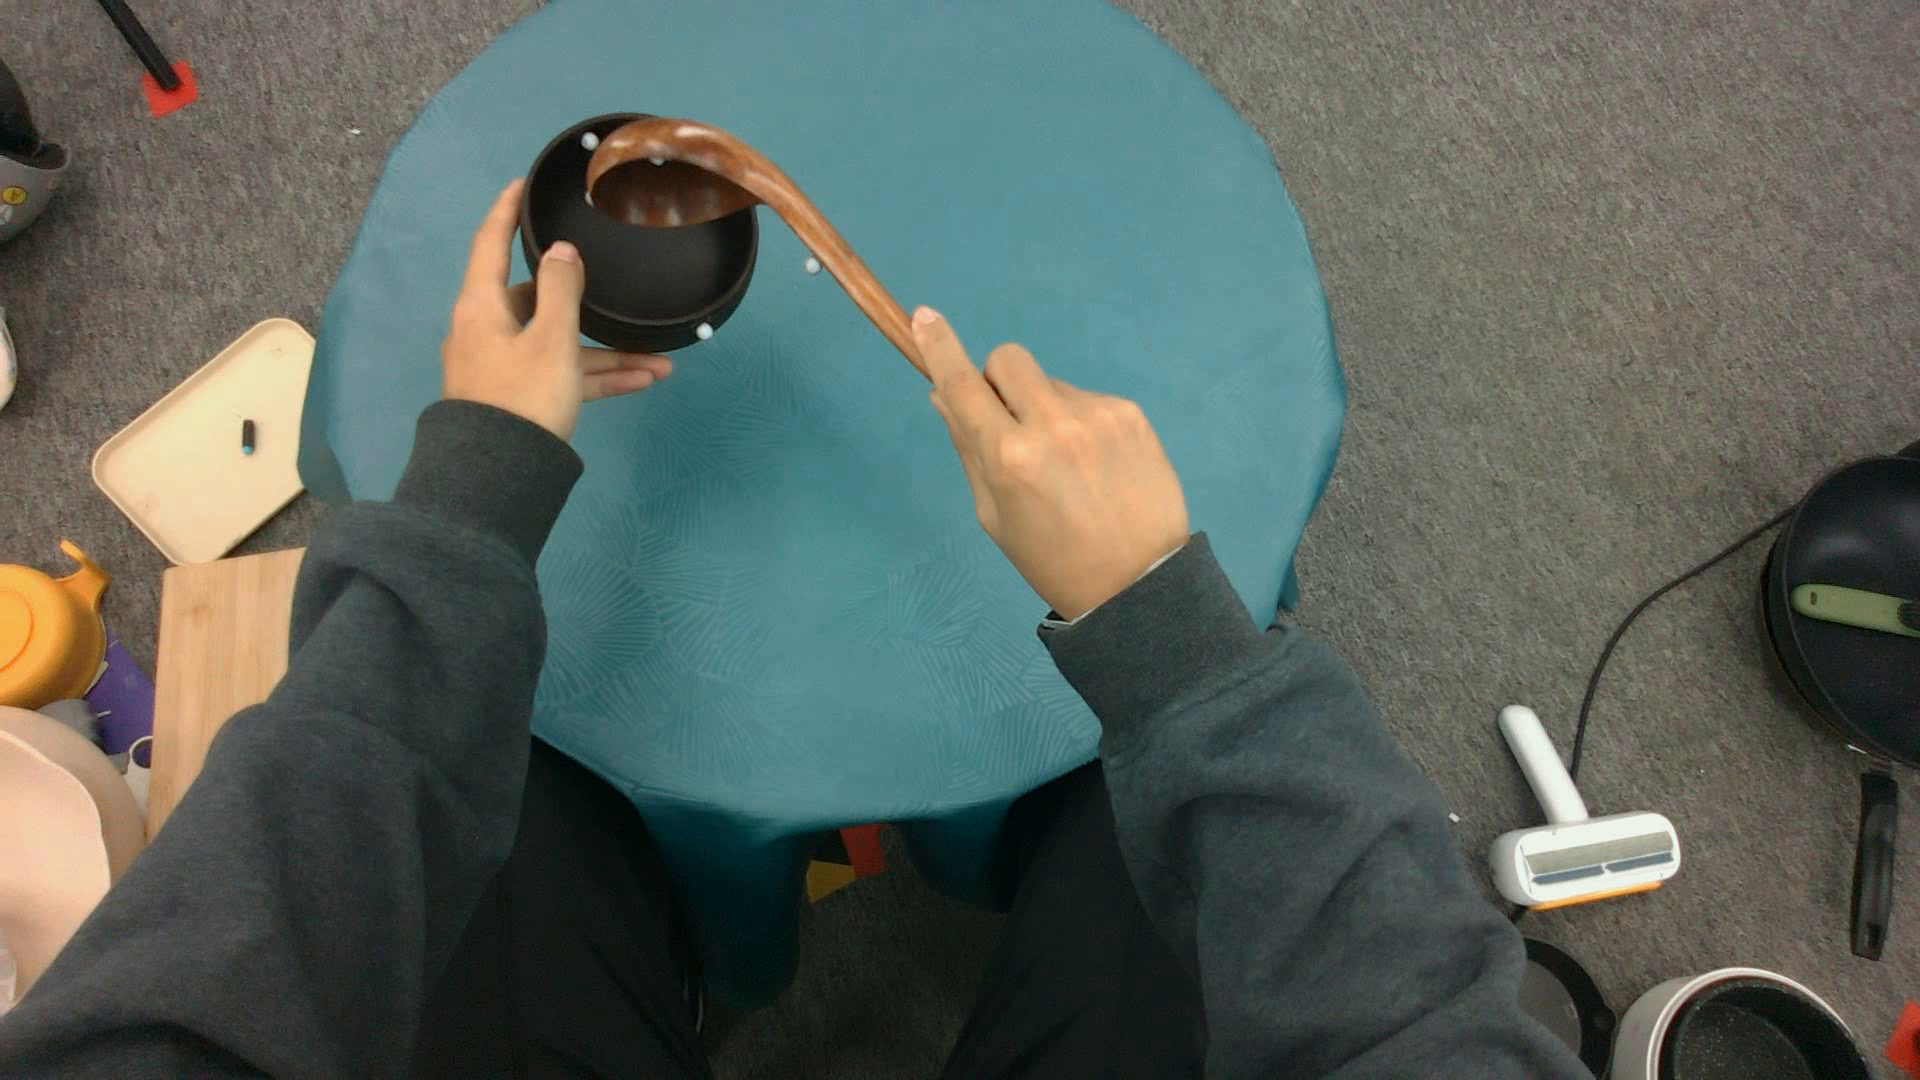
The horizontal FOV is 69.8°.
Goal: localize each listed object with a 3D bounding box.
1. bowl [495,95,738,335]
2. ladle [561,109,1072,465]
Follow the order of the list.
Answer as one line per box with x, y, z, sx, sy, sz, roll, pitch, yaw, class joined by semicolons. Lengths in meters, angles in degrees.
-0.177;-0.160;0.708;0.118;0.069;0.118;5;74;-18;bowl
-0.073;-0.103;0.615;0.274;0.082;0.076;45;102;16;ladle
